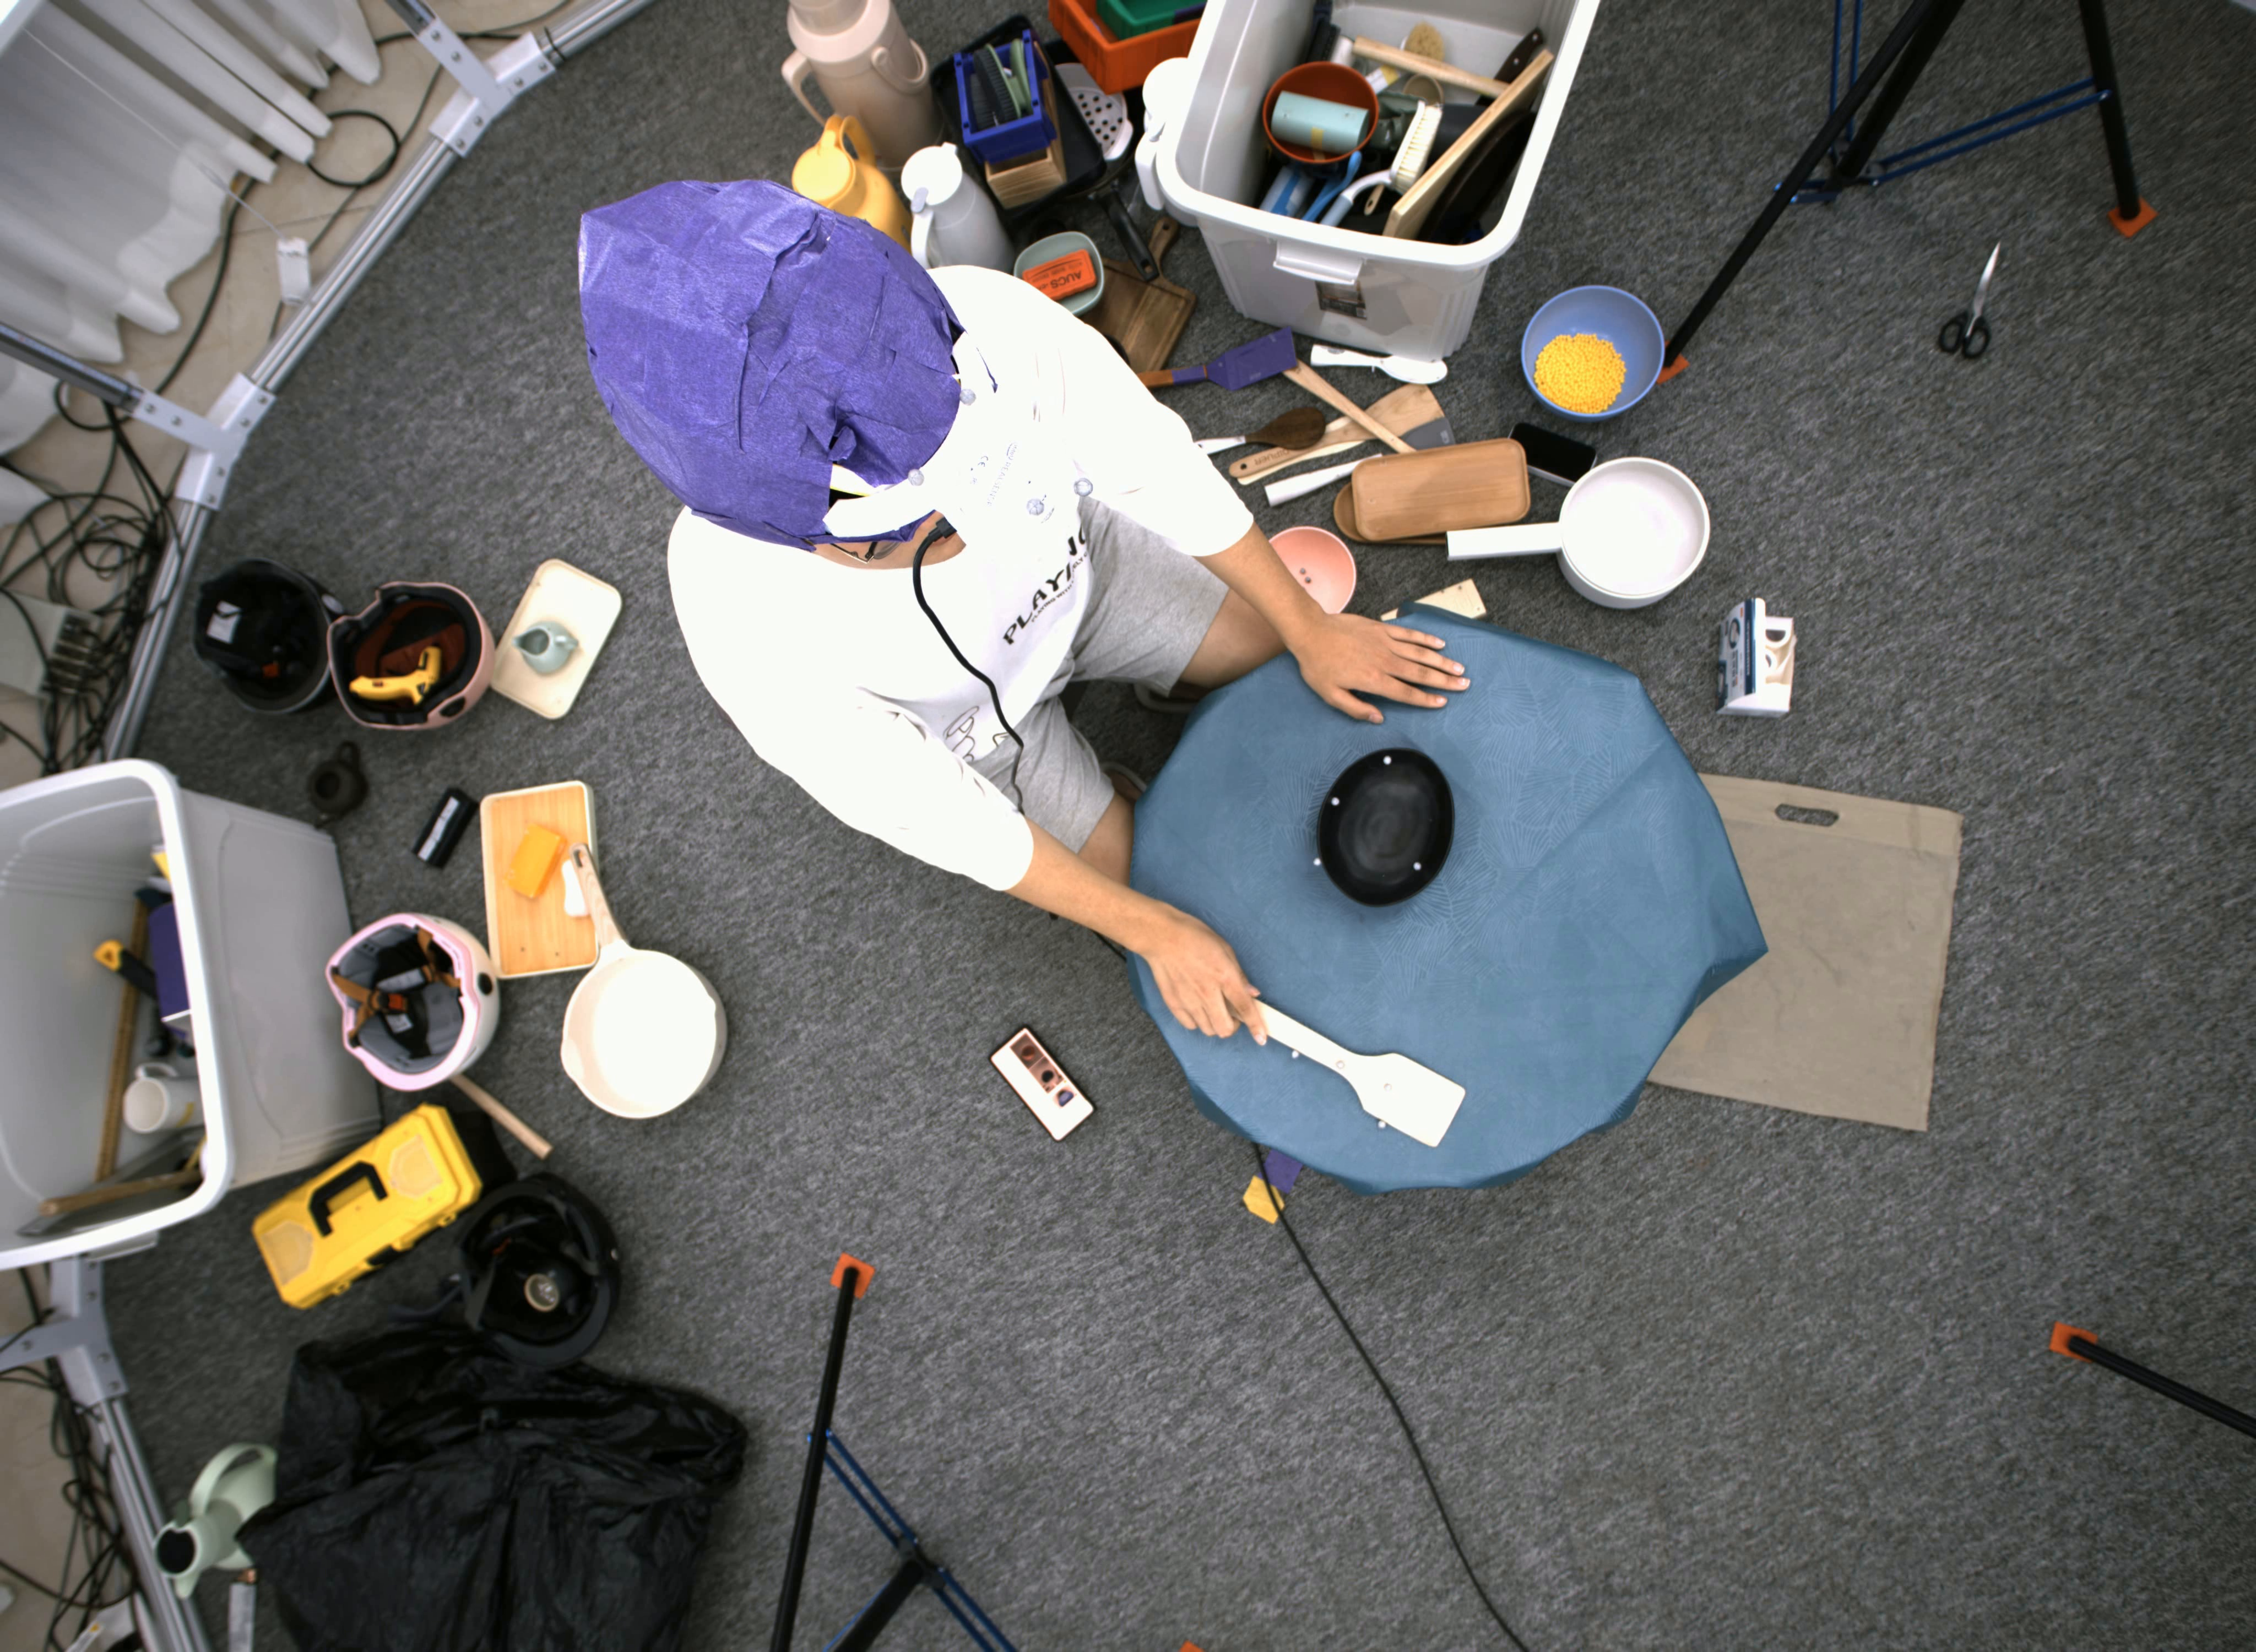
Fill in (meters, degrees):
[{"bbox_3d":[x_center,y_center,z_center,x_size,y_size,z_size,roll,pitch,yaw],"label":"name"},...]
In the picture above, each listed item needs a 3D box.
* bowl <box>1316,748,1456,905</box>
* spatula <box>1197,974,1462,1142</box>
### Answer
[{"bbox_3d":[0.268,0.000,1.432,0.137,0.067,0.170,18,88,12],"label":"bowl"},{"bbox_3d":[0.203,0.232,1.446,0.293,0.010,0.072,27,93,5],"label":"spatula"}]
